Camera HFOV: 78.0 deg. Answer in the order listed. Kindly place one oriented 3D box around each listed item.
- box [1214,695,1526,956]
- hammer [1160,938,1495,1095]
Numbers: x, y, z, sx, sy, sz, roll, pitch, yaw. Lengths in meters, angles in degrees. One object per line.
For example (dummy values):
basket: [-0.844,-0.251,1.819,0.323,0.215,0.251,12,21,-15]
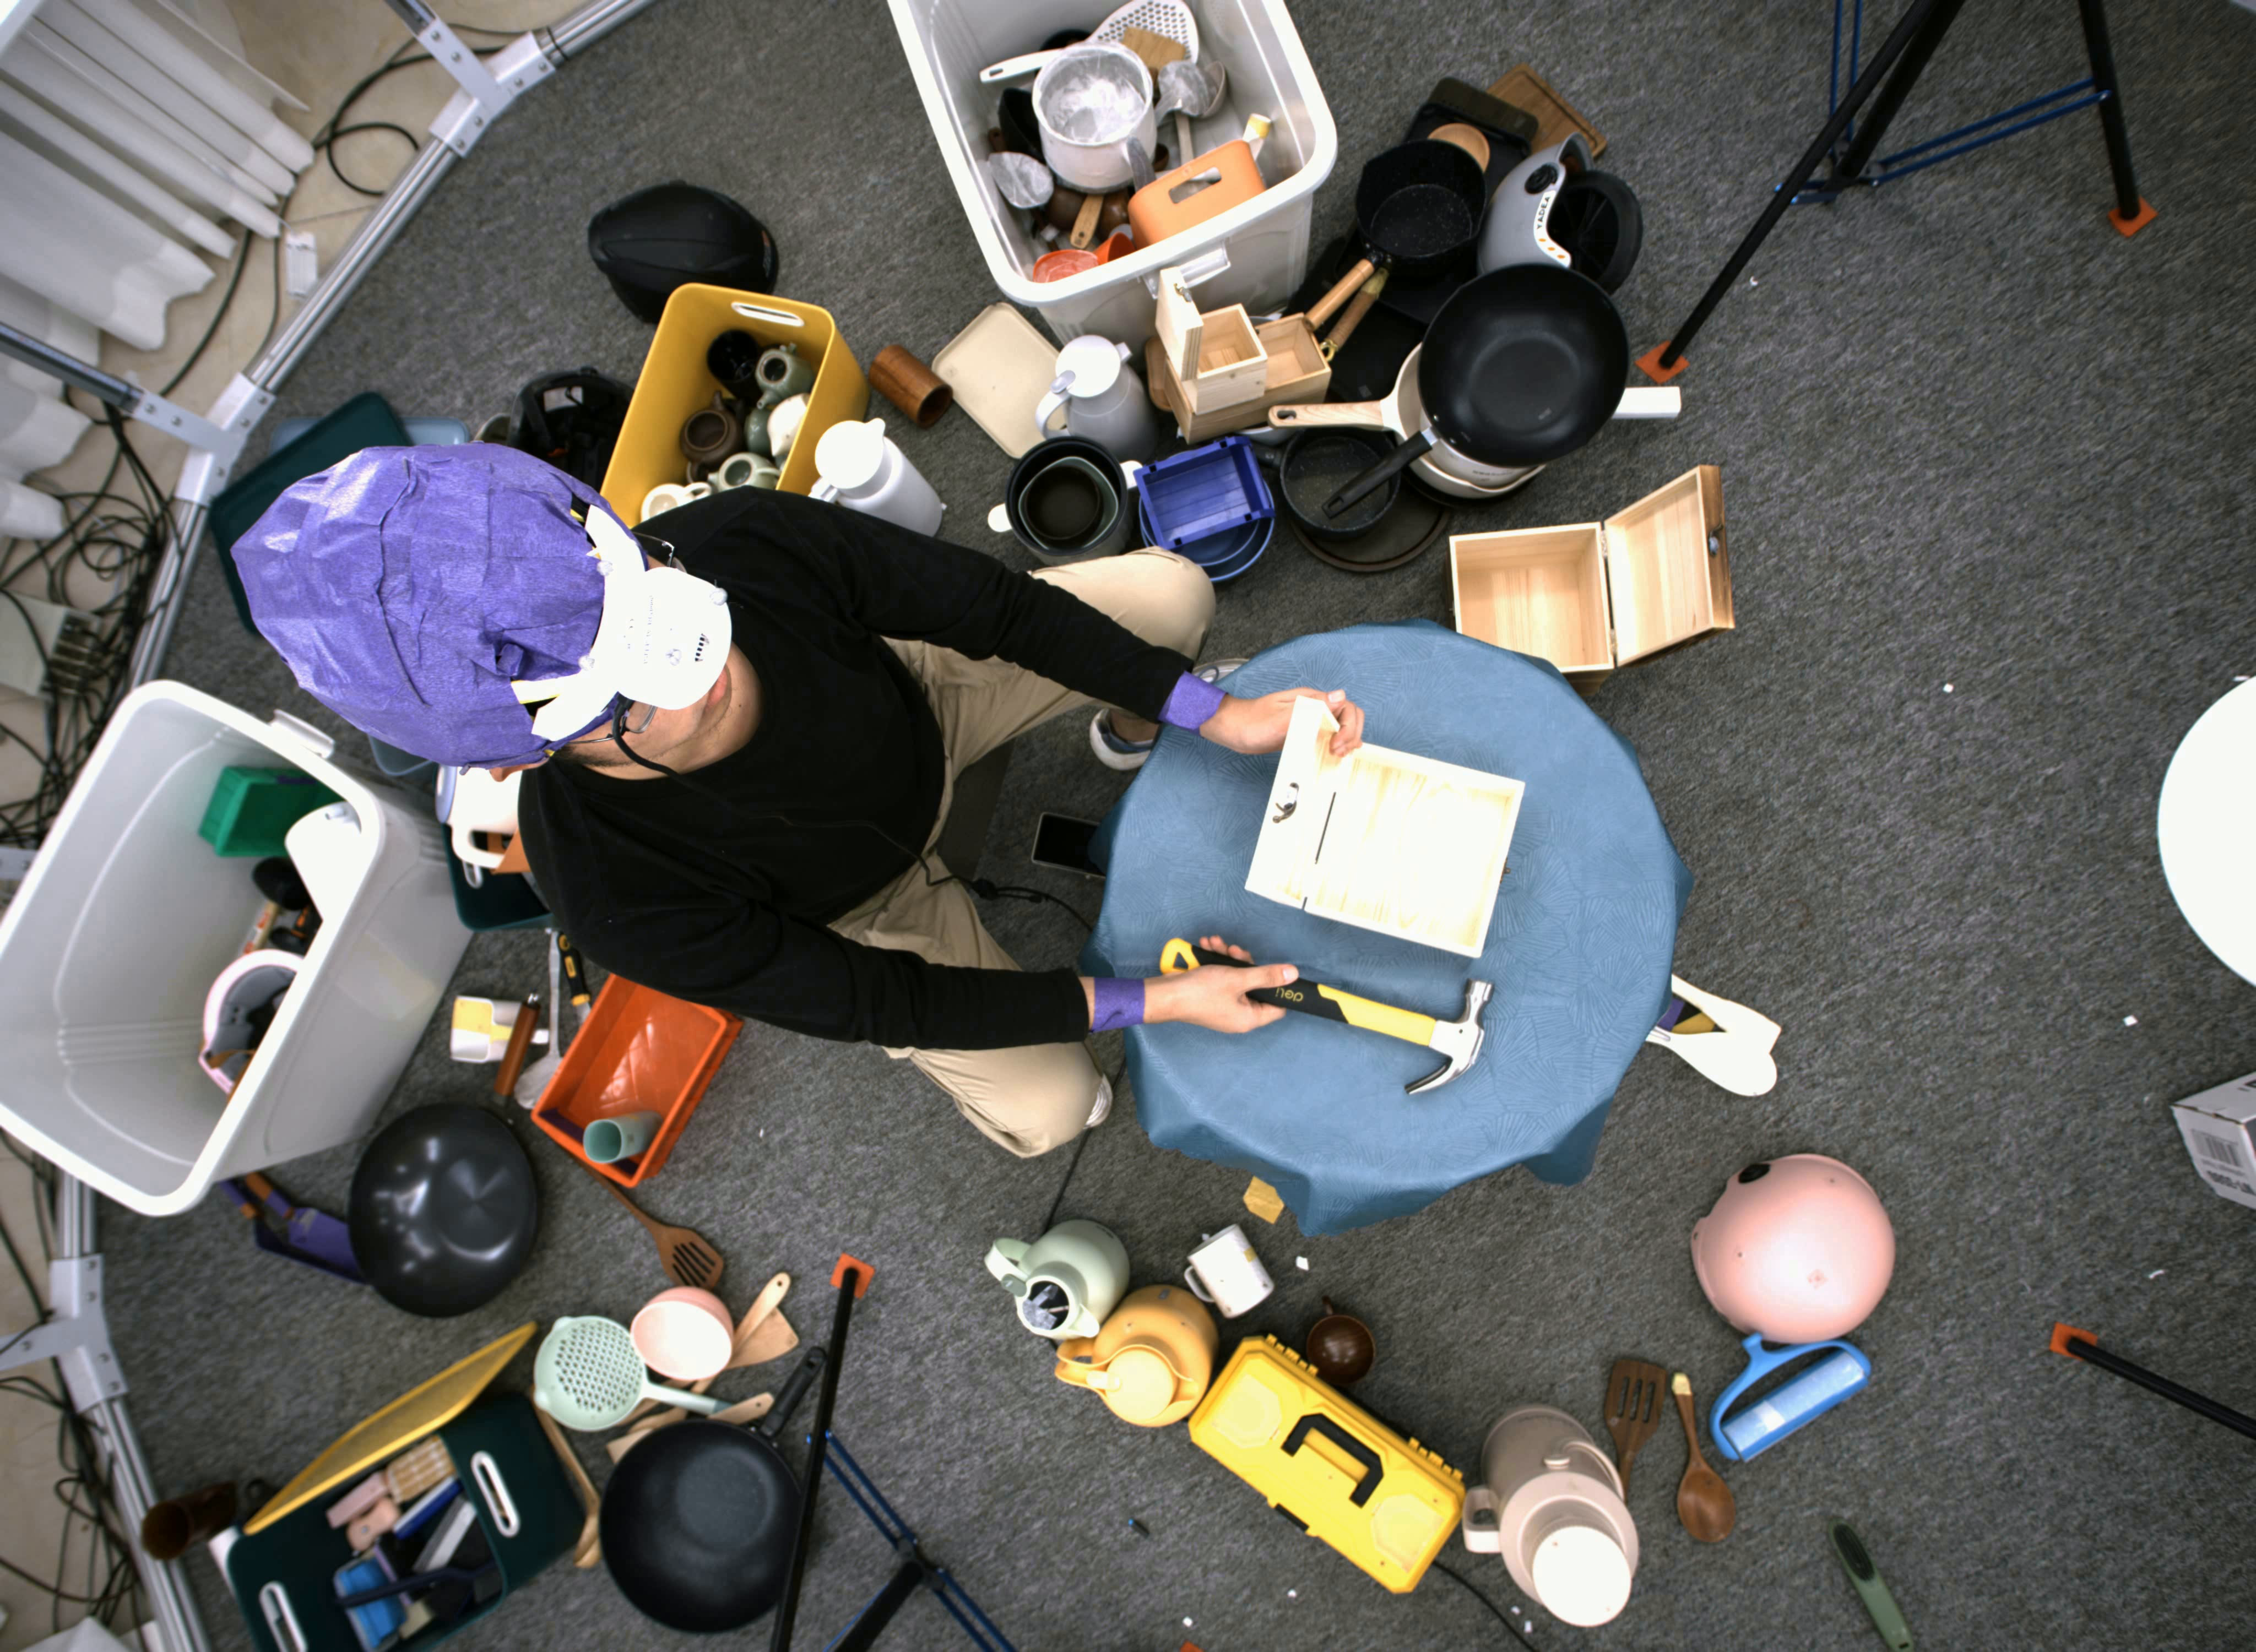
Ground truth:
box: [0.247,0.007,1.342,0.265,0.253,0.182,14,90,11]
hammer: [0.198,0.179,1.431,0.339,0.032,0.132,16,98,5]
